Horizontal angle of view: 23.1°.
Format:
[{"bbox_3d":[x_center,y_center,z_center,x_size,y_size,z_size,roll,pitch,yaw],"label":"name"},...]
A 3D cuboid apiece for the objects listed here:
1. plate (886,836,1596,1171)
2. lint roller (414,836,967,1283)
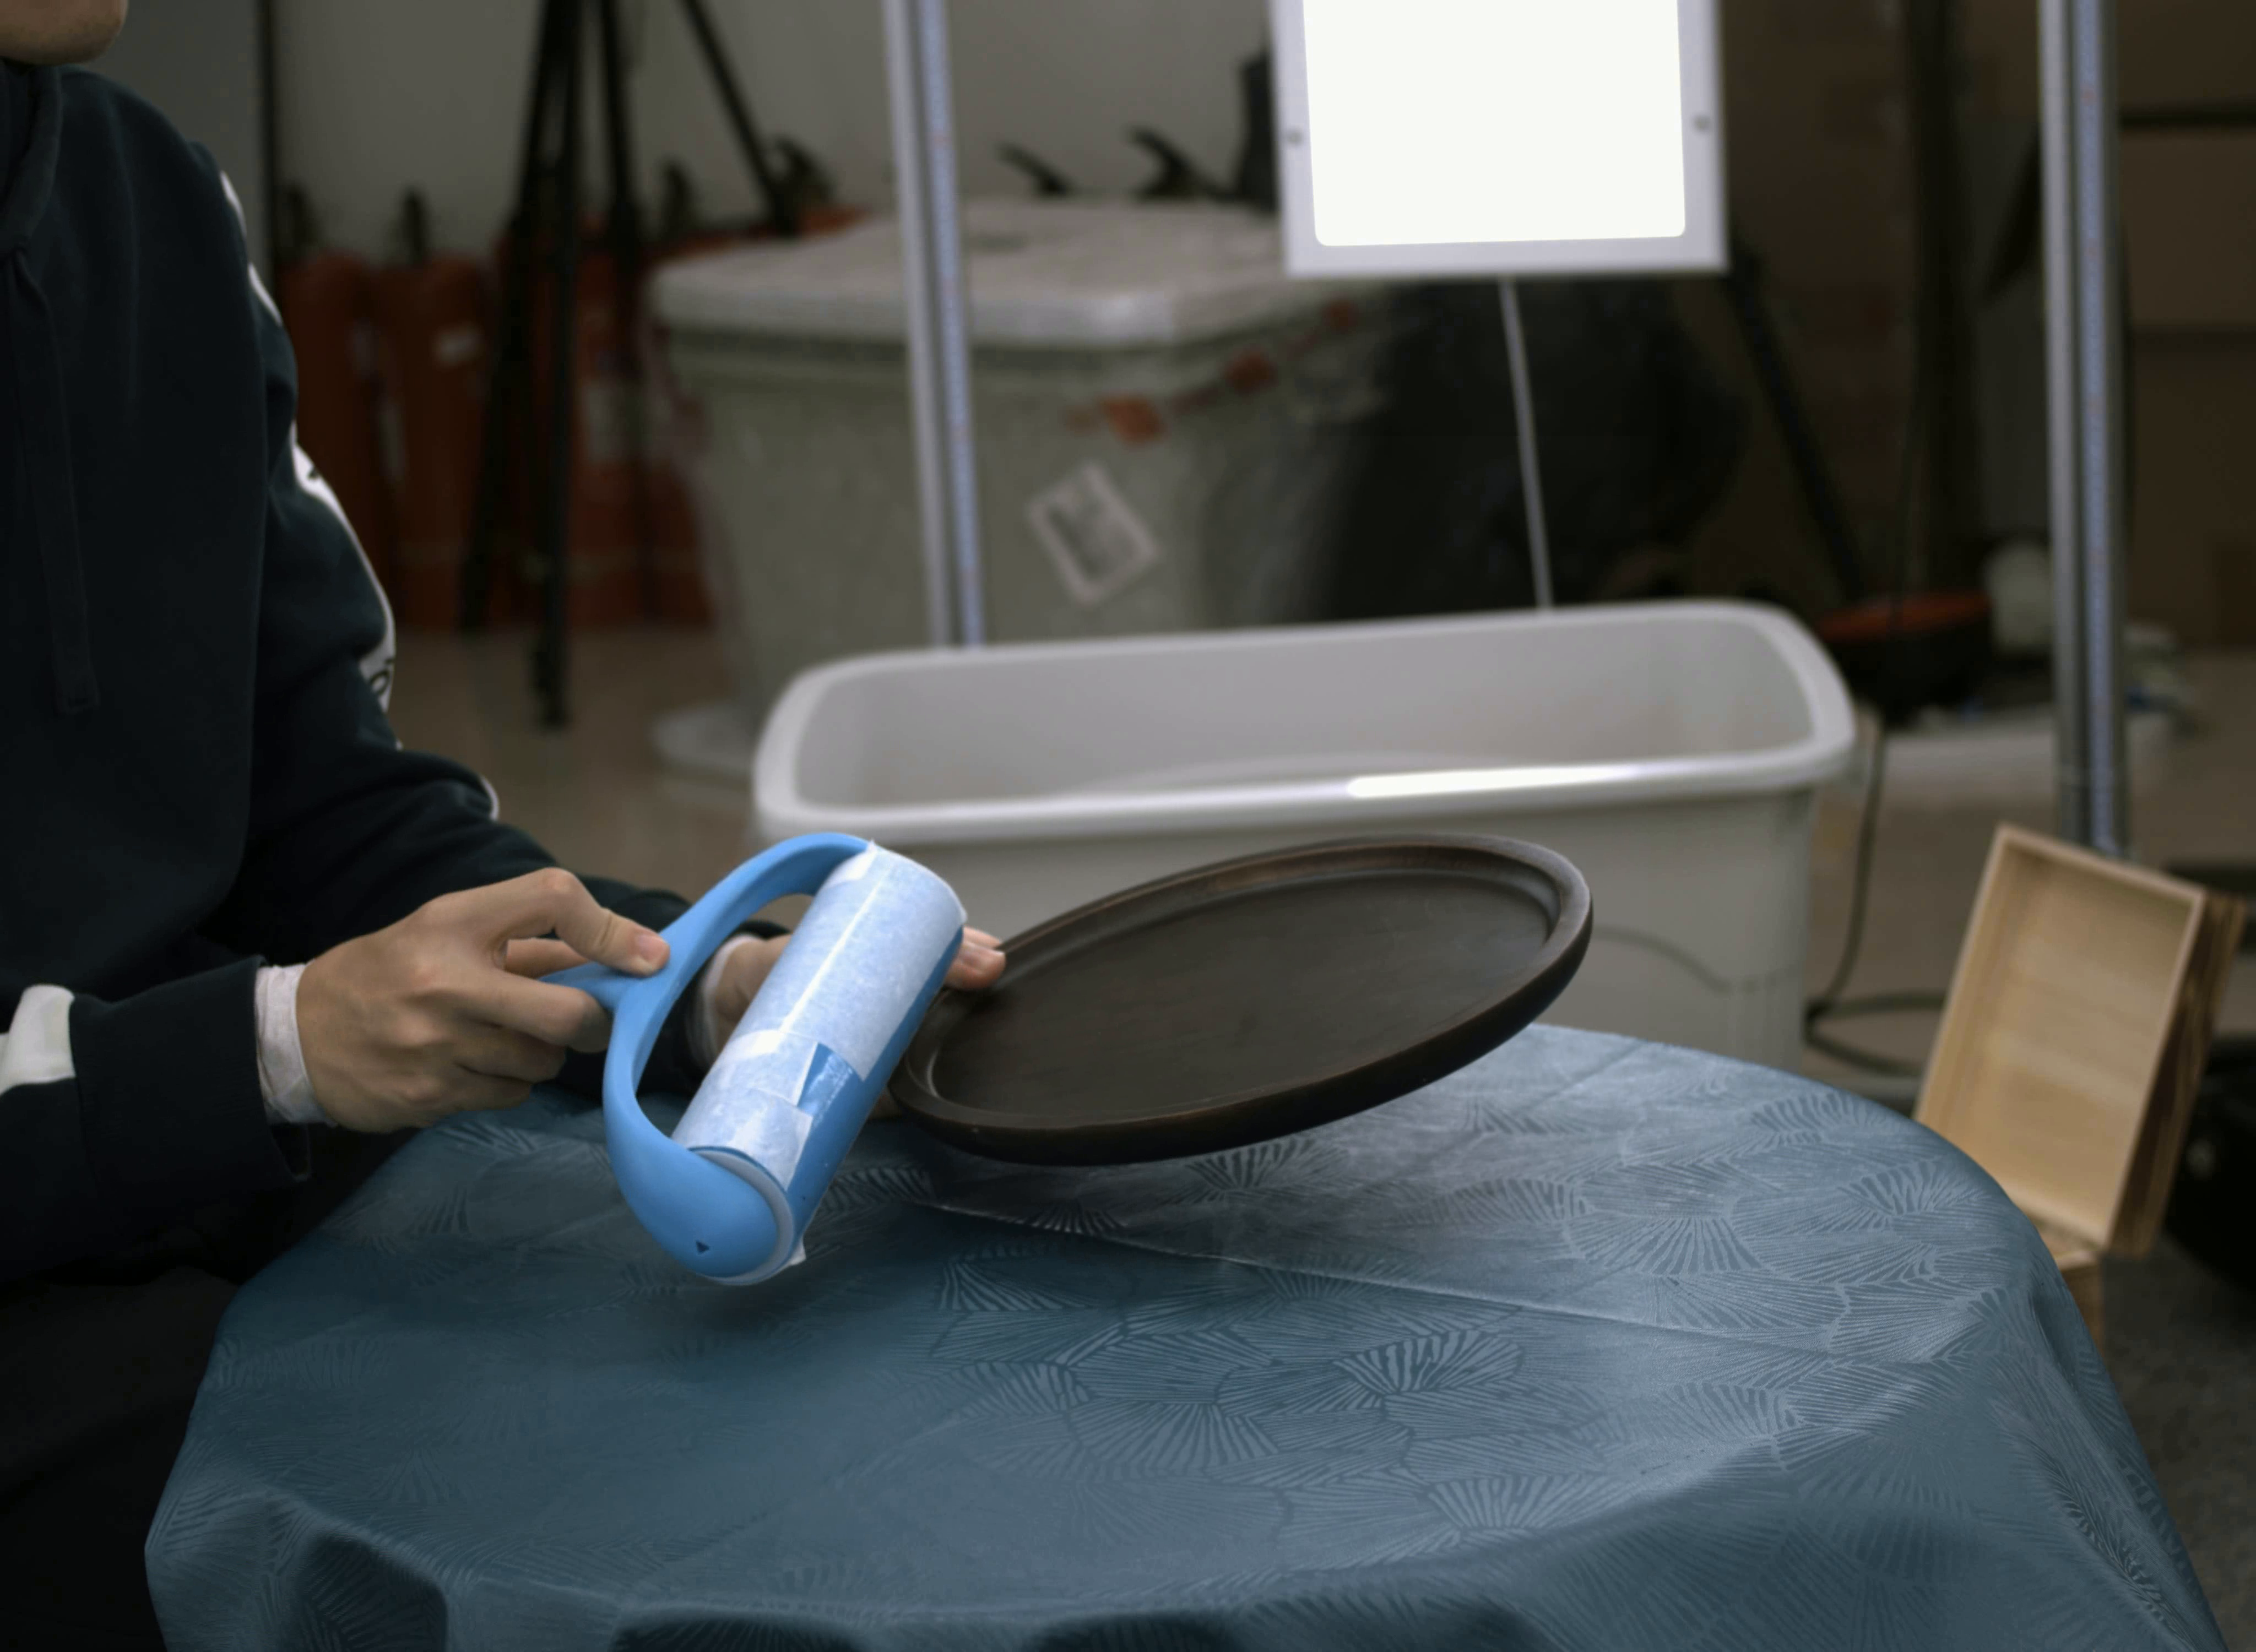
[{"bbox_3d":[0.040,0.060,1.891,0.255,0.029,0.254,-14,16,3],"label":"plate"},{"bbox_3d":[-0.163,0.077,1.876,0.182,0.068,0.226,1,31,15],"label":"lint roller"}]
